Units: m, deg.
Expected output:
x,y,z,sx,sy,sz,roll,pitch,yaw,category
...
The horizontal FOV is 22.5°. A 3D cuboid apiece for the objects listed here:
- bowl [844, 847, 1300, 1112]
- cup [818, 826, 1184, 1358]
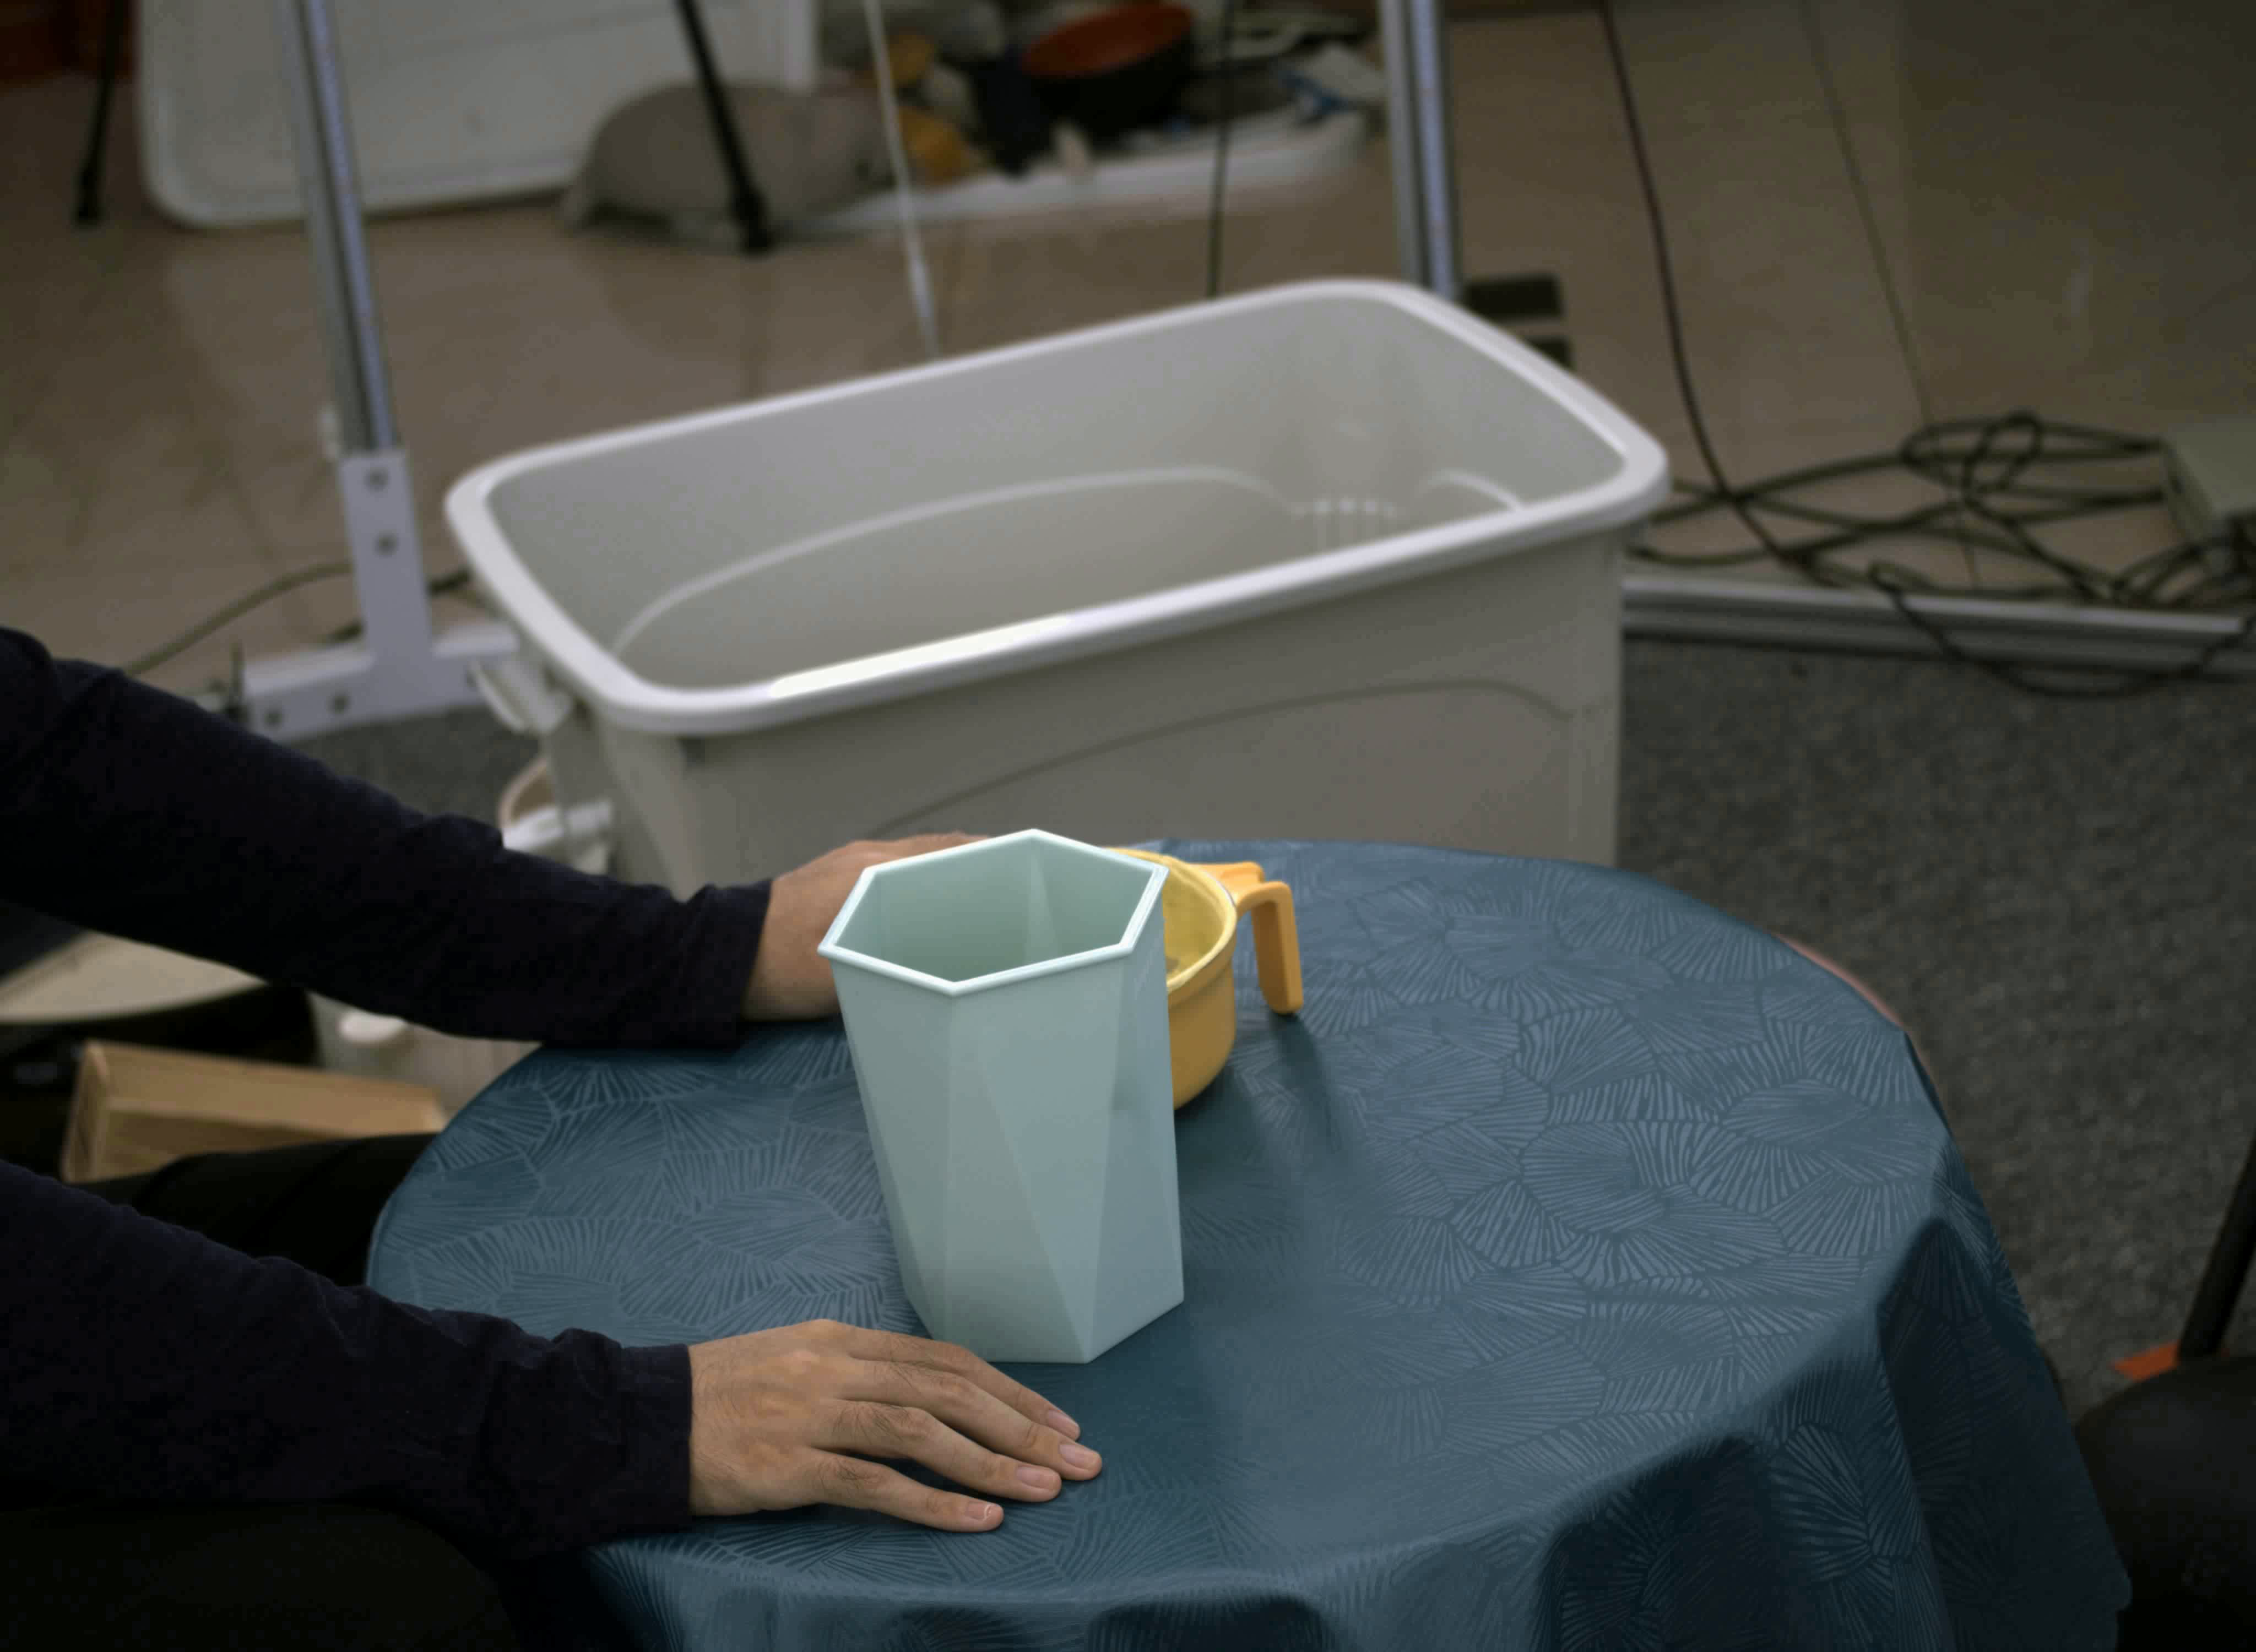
x,y,z,sx,sy,sz,roll,pitch,yaw,category
-0.018,0.066,2.225,0.178,0.075,0.151,-19,24,-22,bowl
-0.038,0.099,2.045,0.115,0.165,0.129,-2,25,12,cup
